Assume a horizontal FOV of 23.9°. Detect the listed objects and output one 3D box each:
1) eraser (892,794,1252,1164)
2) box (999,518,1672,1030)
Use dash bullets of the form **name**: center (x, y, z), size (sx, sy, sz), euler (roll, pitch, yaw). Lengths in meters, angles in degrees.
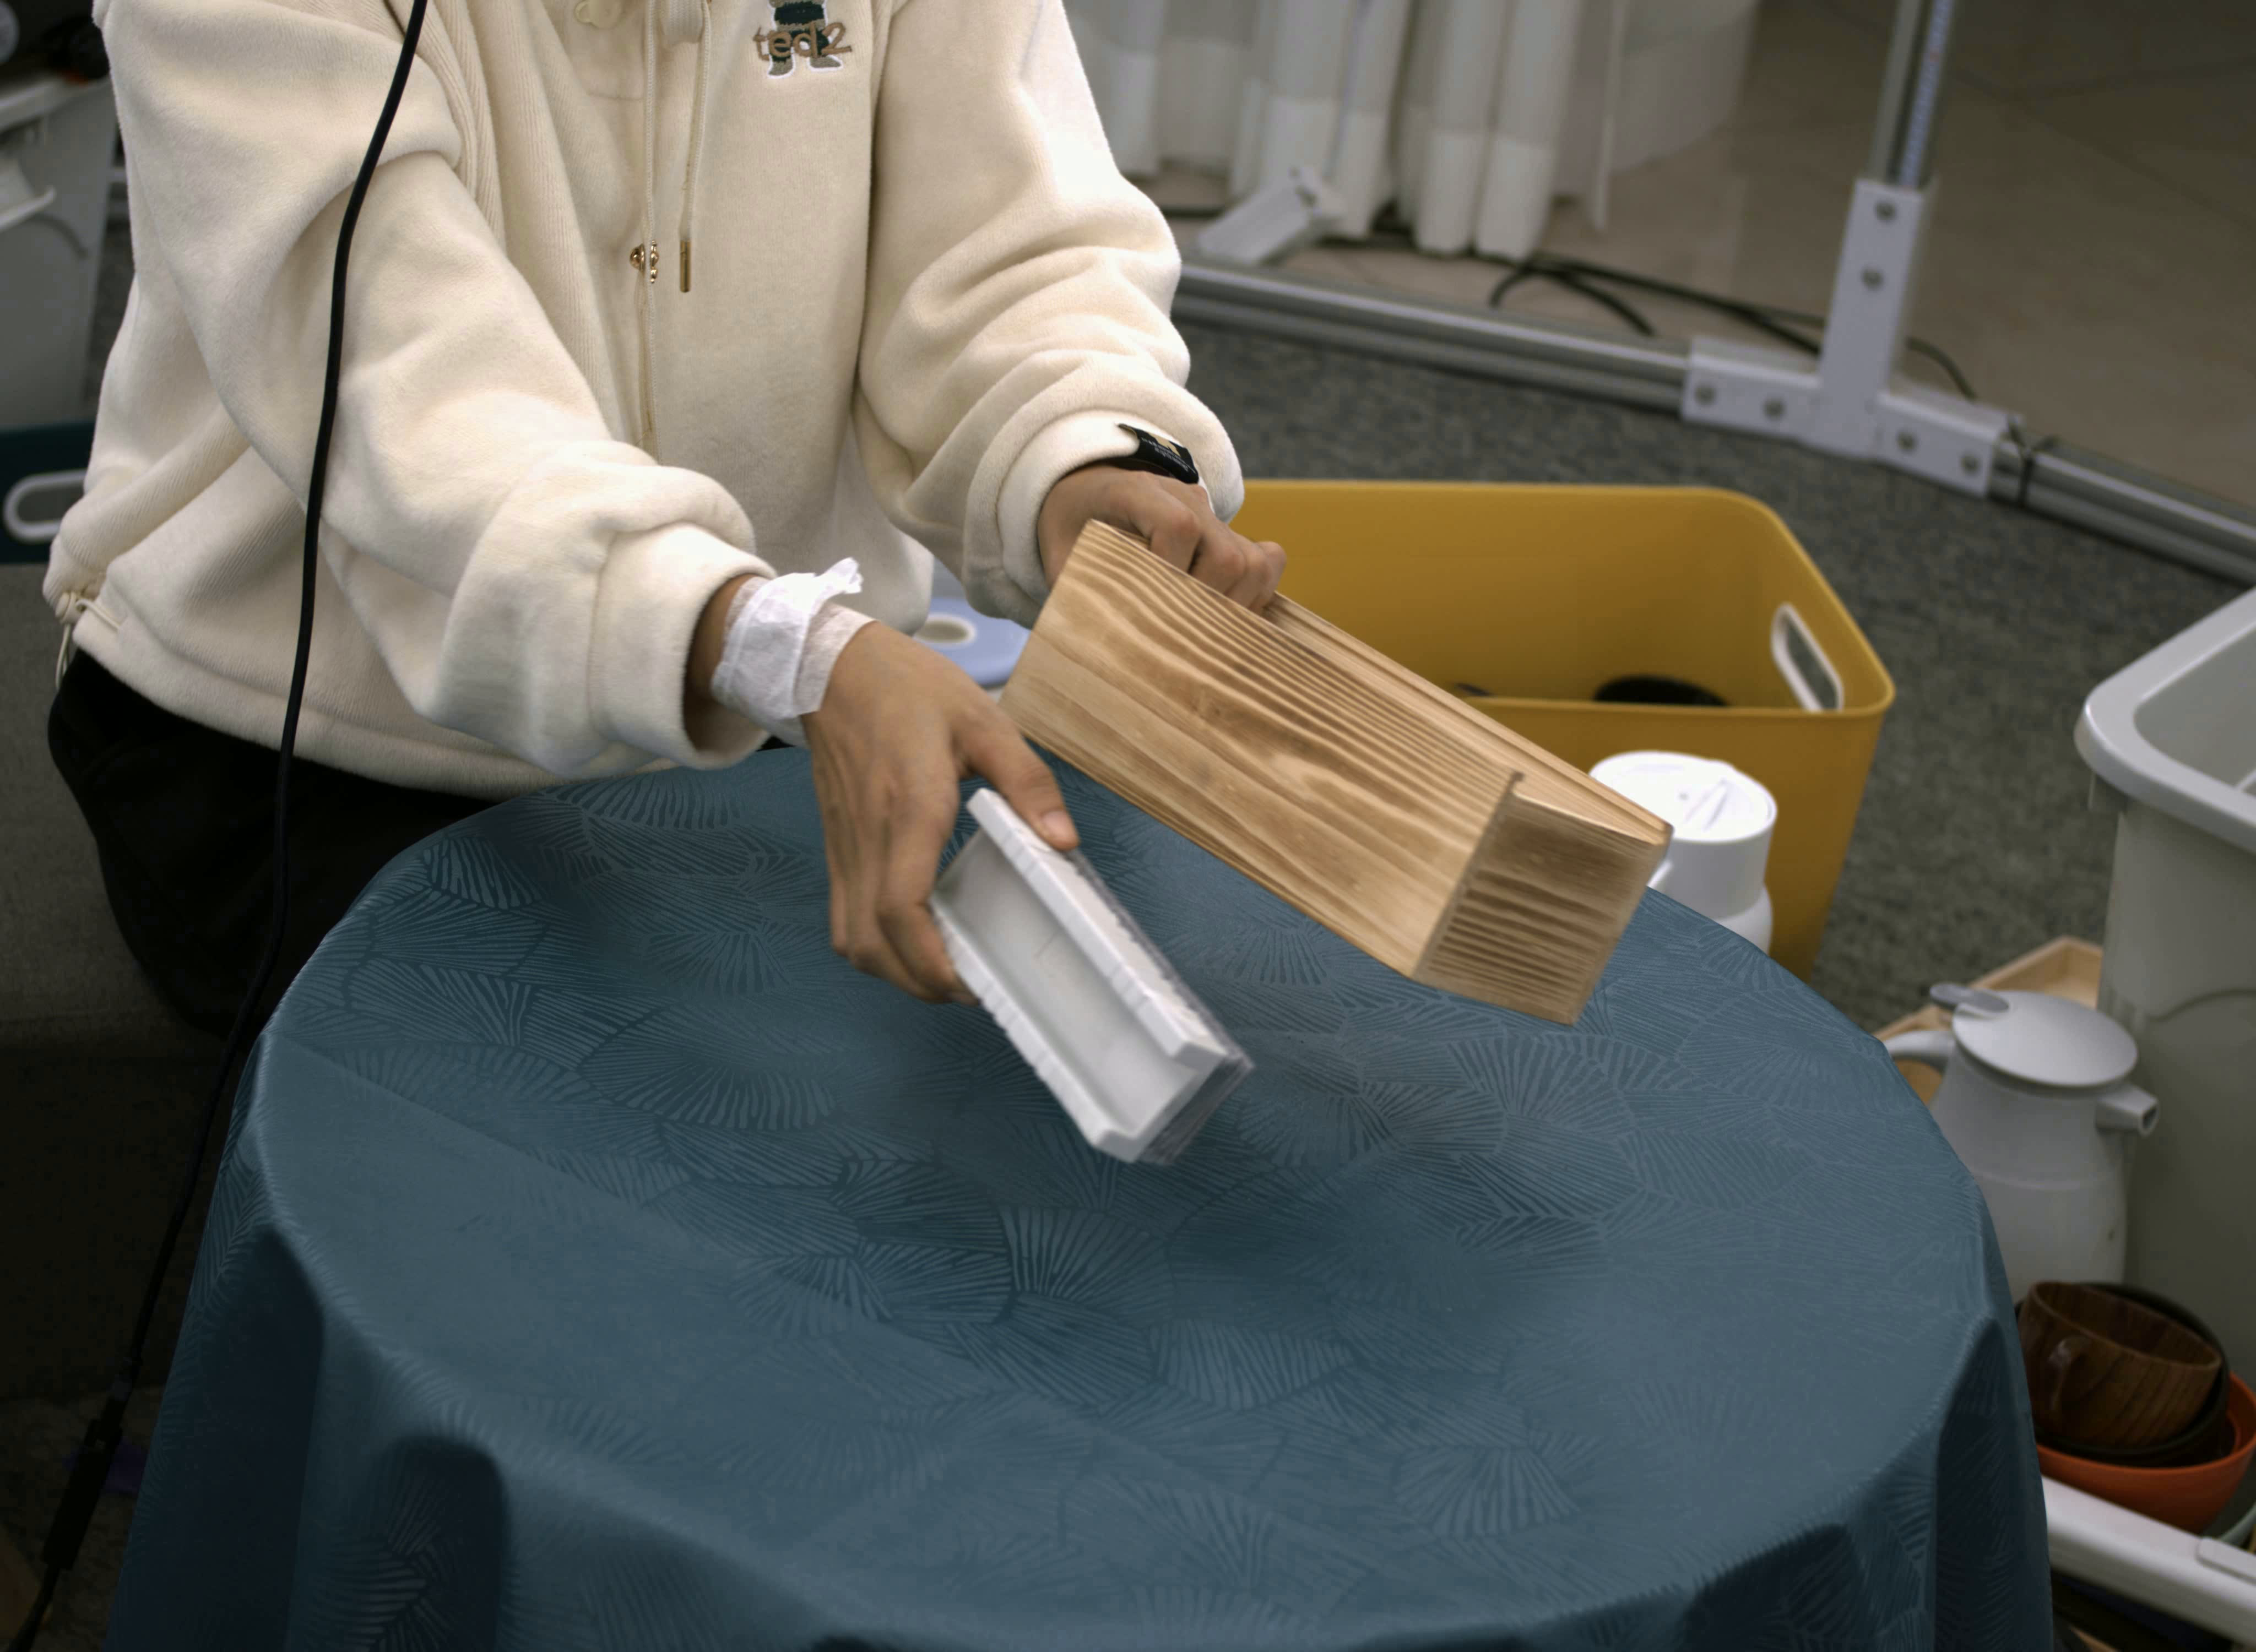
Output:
- **eraser**: center (-0.018, 0.051, 1.764), size (0.046, 0.050, 0.135), euler (22, 20, -51)
- **box**: center (0.070, -0.019, 1.859), size (0.213, 0.080, 0.106), euler (33, 9, 37)
